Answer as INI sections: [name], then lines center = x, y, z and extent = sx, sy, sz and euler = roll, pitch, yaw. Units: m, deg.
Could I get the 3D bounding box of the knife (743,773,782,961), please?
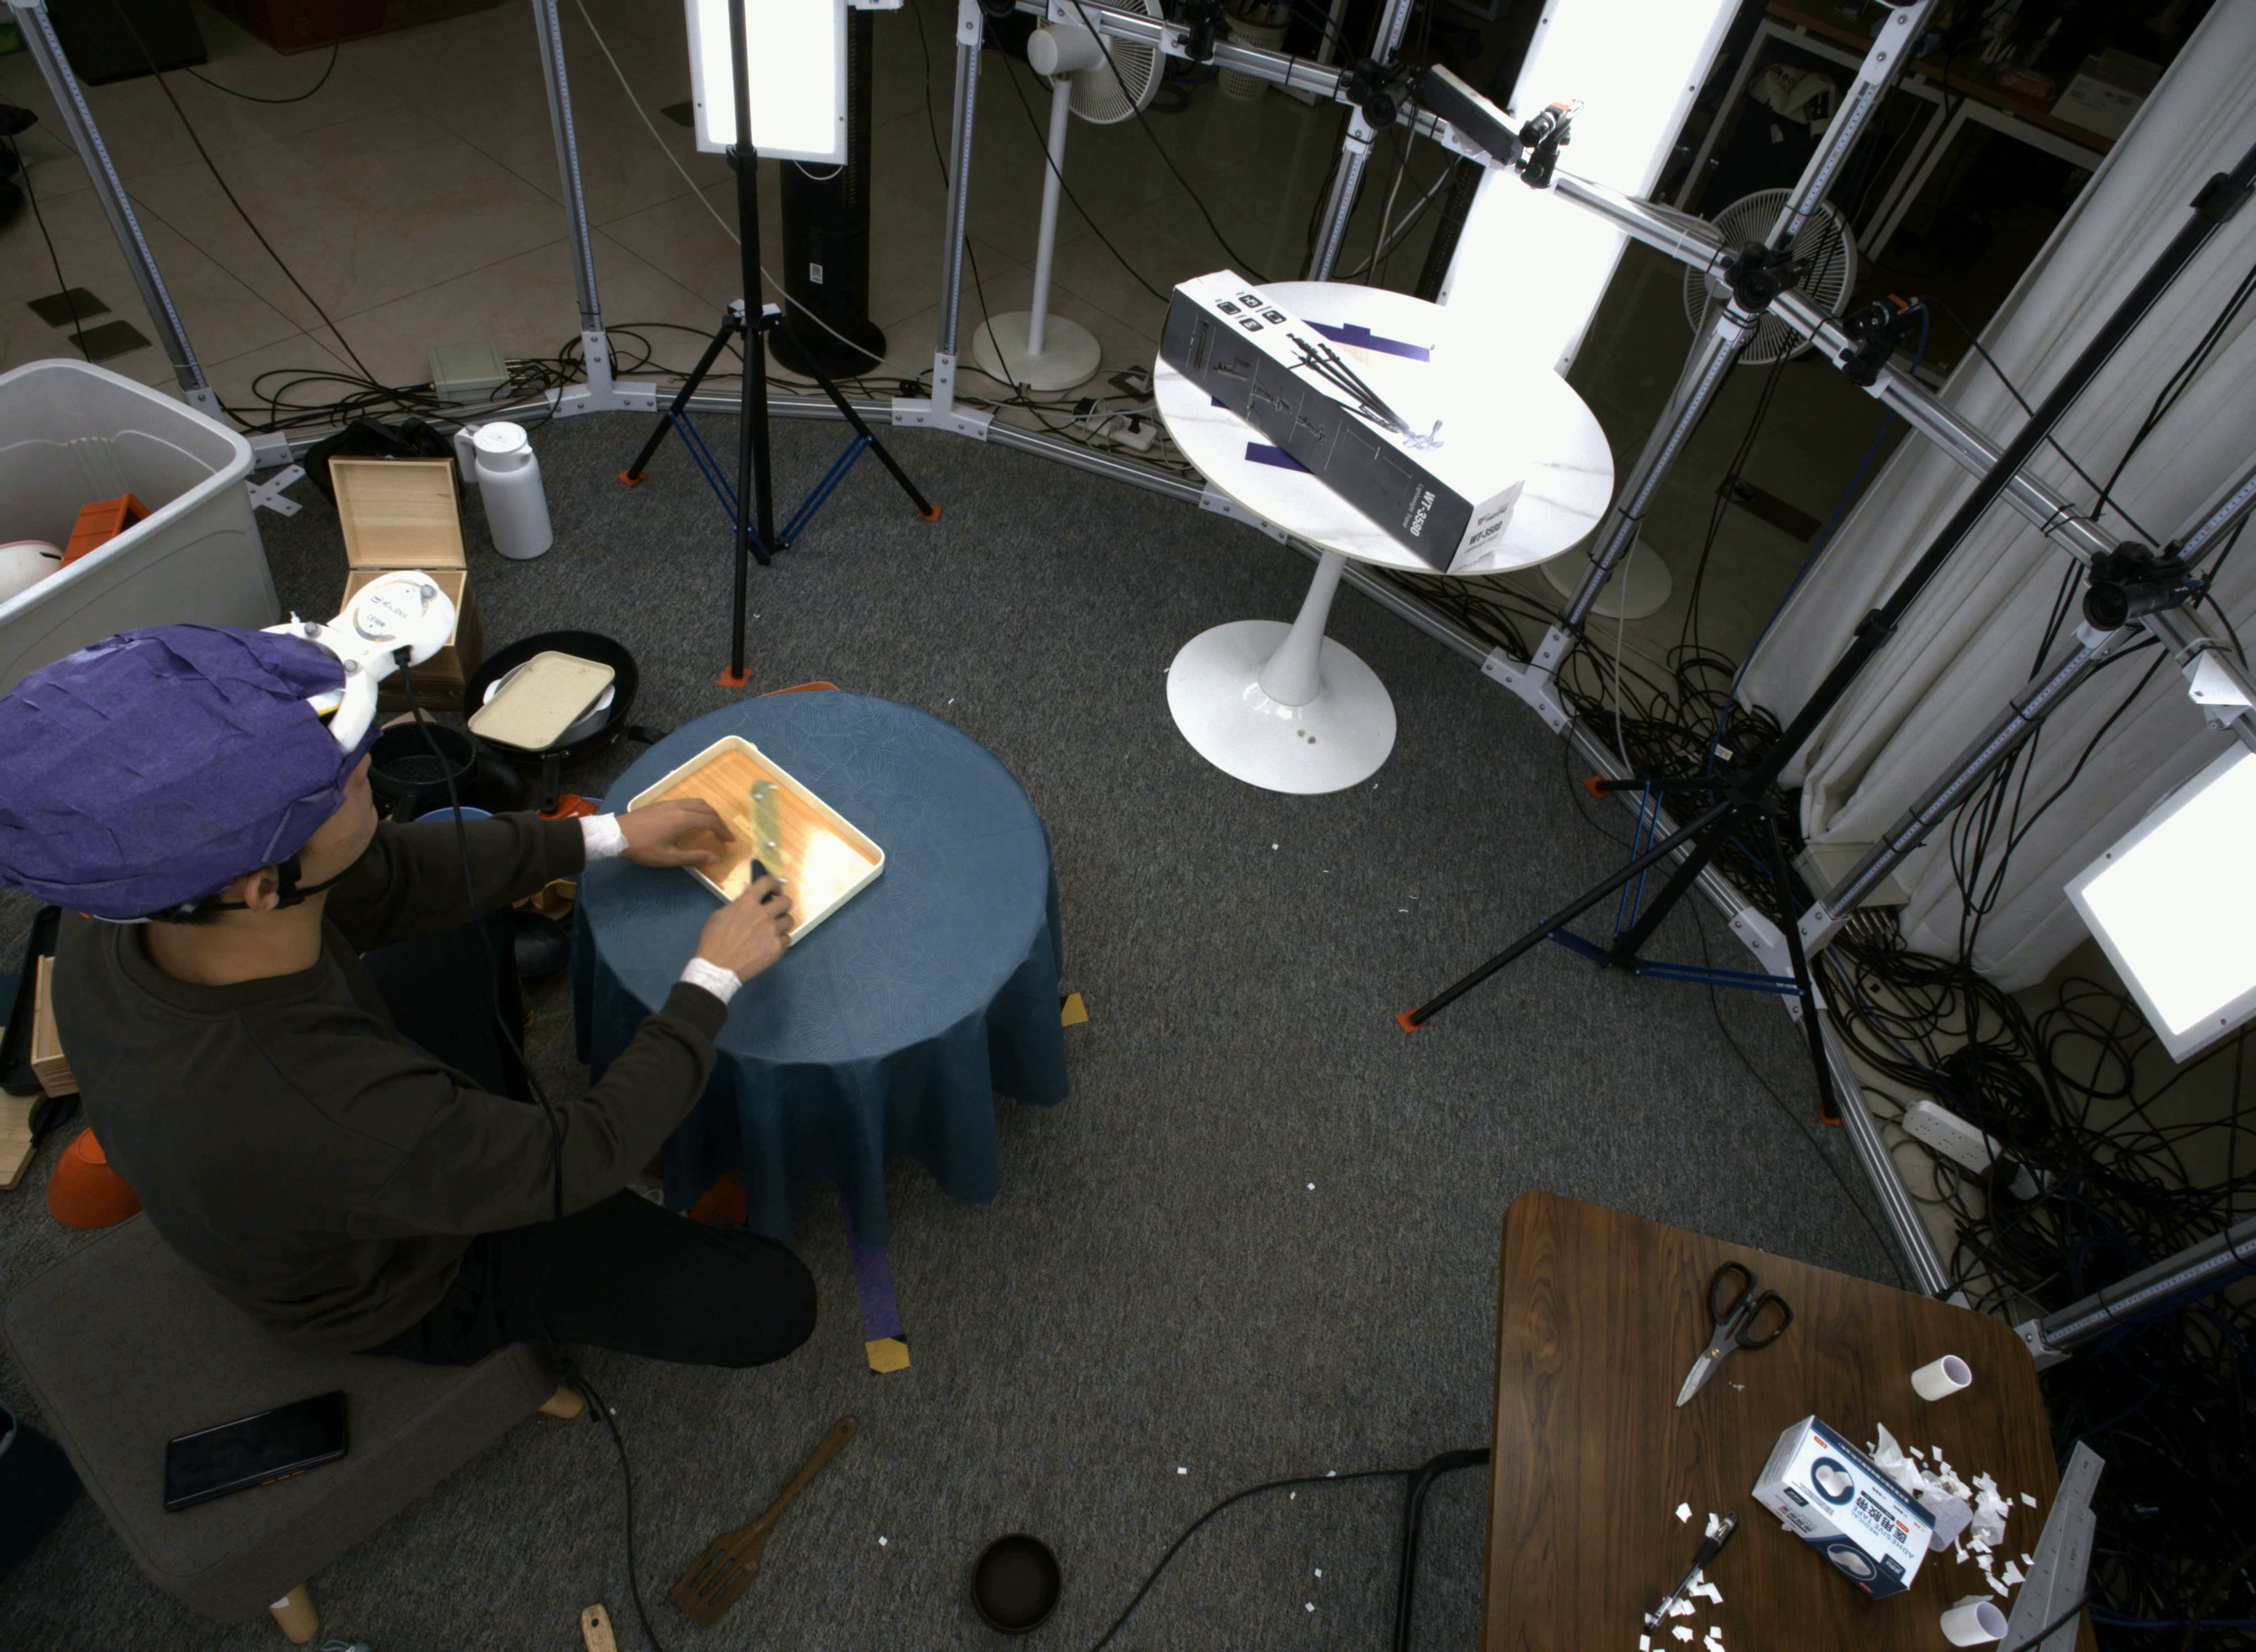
[knife]
center = -0.451, 0.046, 1.597
extent = 0.027, 0.084, 0.283
euler = -20, 54, 9

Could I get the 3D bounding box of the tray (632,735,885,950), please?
[tray]
center = -0.484, 0.015, 1.692
extent = 0.294, 0.028, 0.191
euler = 37, 55, 14
